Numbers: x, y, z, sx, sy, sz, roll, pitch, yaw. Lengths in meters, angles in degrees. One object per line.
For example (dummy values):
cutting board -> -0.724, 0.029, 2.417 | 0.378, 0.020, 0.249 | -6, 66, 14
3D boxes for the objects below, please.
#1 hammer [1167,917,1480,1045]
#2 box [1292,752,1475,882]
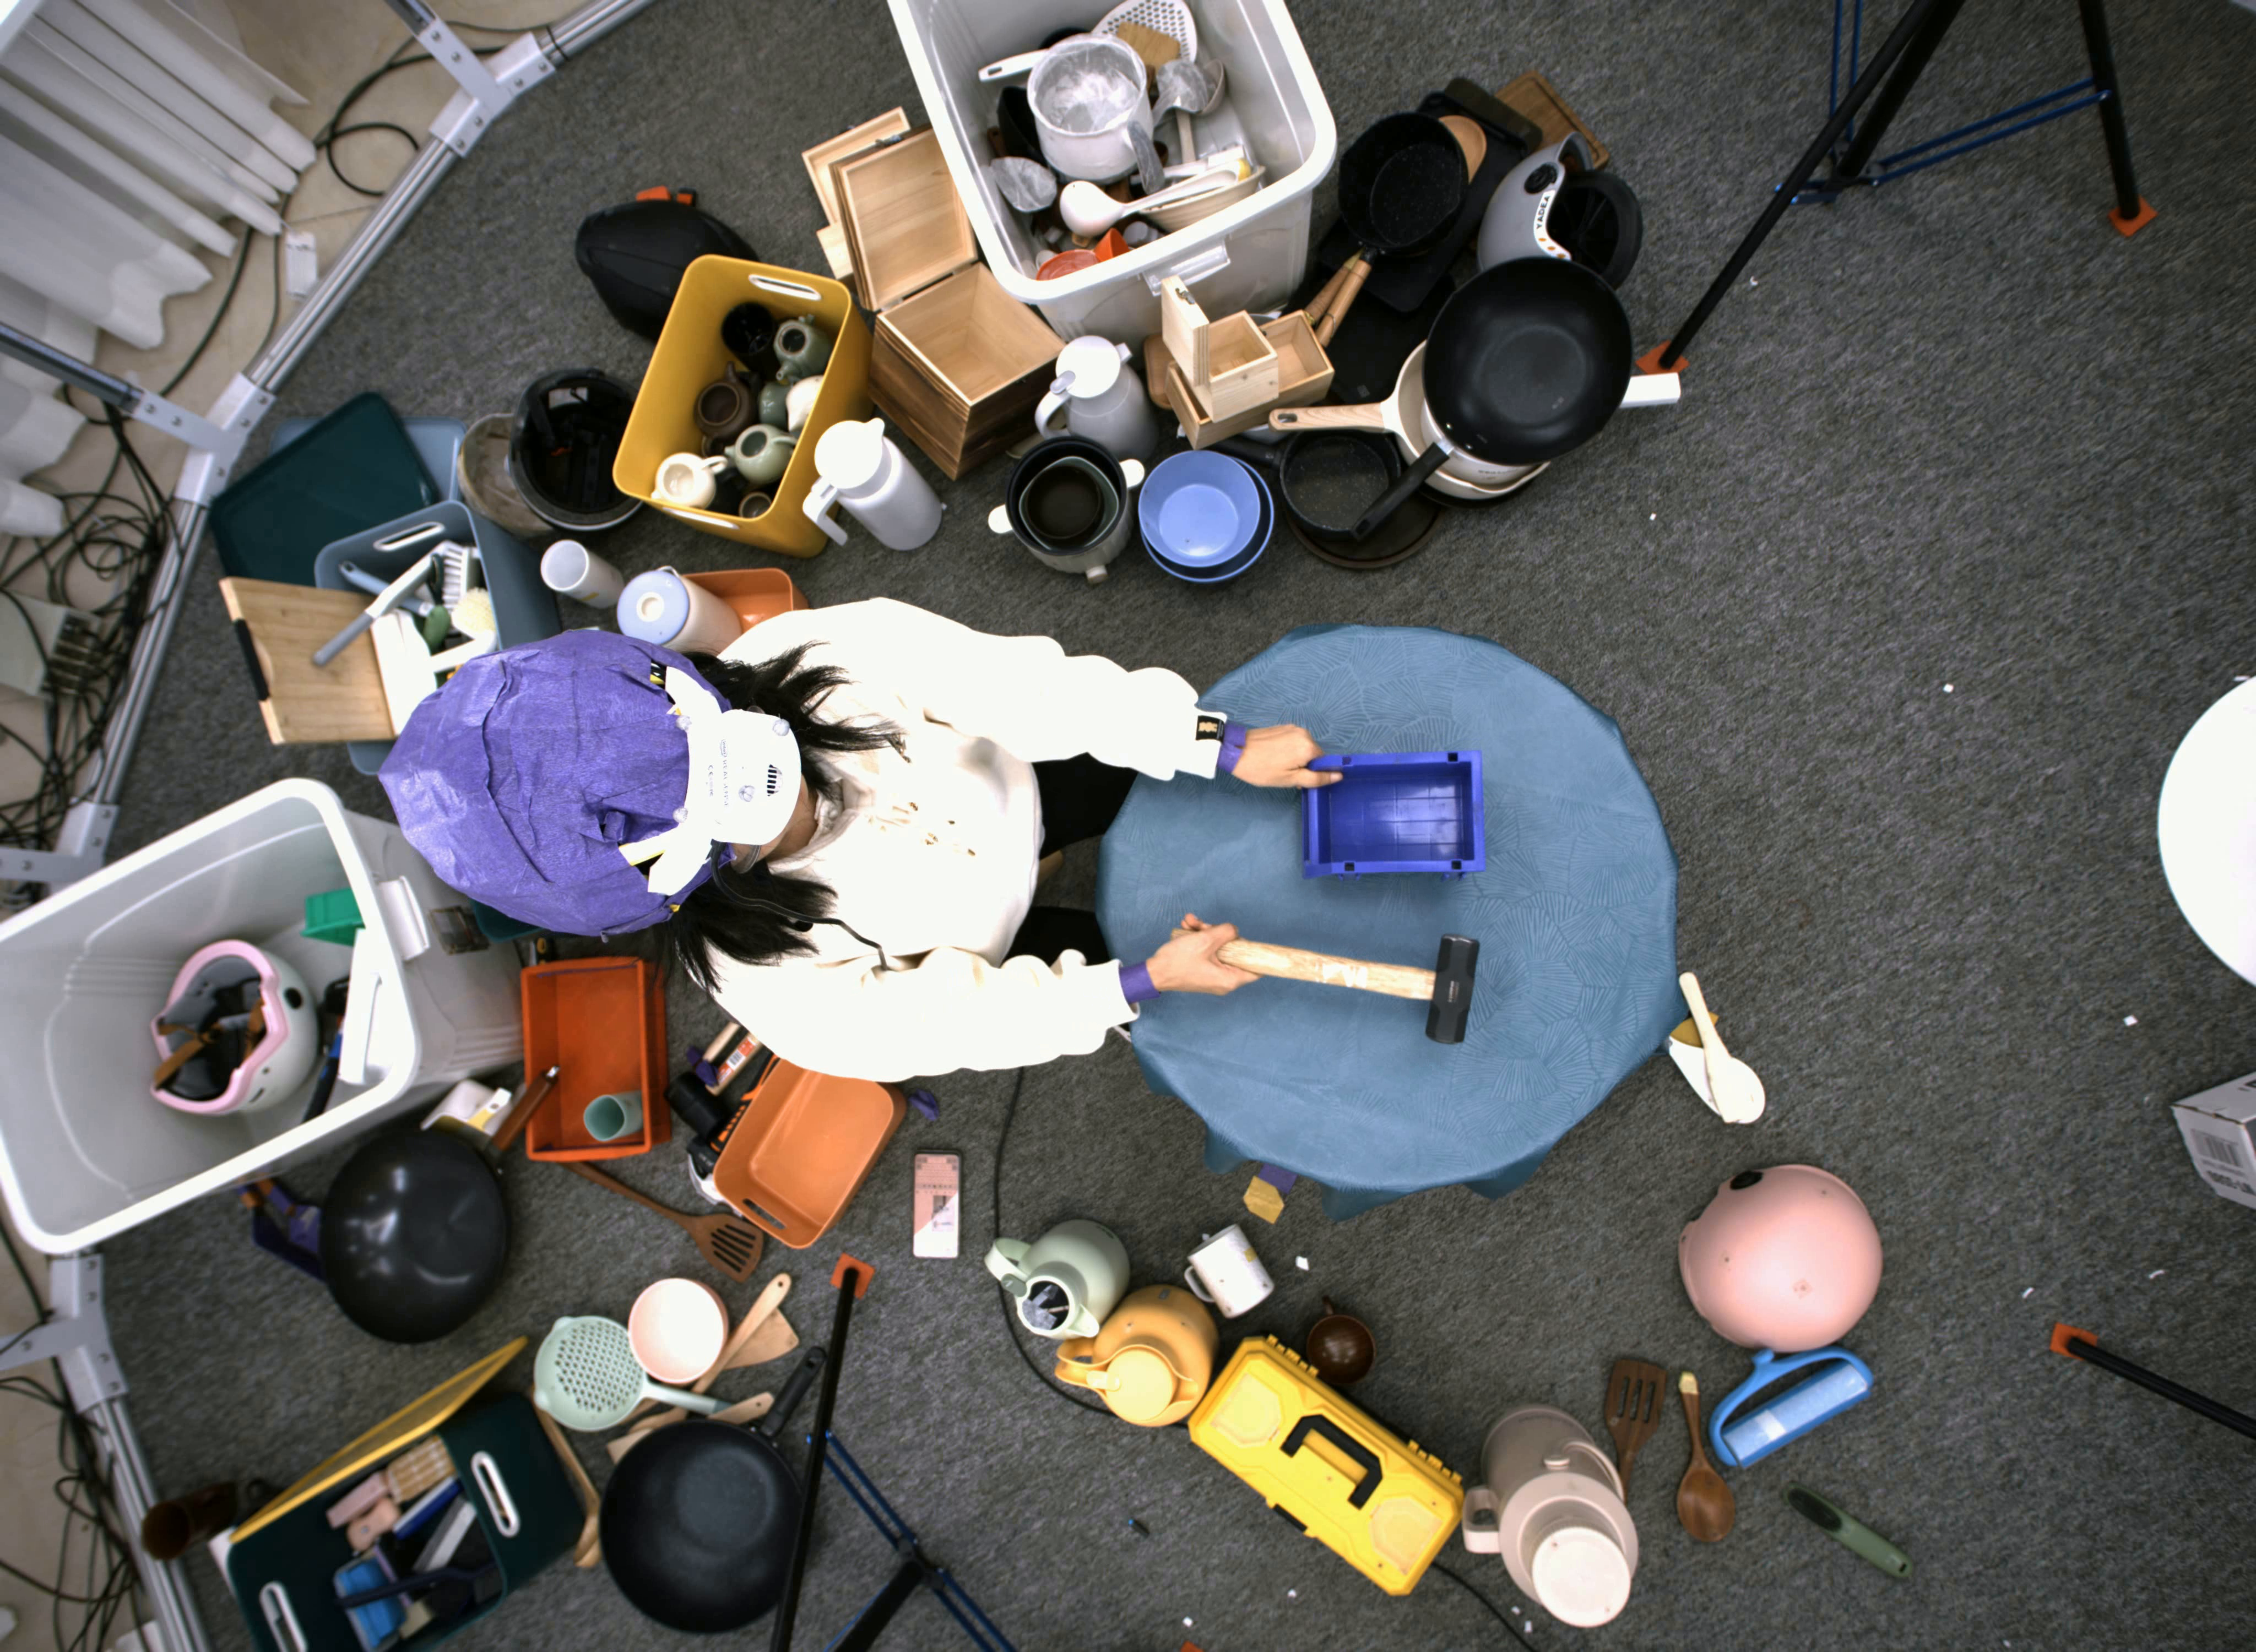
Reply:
hammer -> 0.191, 0.136, 1.392 | 0.306, 0.038, 0.108 | 10, 97, 10
box -> 0.256, -0.008, 1.401 | 0.180, 0.082, 0.124 | 0, 85, 7
